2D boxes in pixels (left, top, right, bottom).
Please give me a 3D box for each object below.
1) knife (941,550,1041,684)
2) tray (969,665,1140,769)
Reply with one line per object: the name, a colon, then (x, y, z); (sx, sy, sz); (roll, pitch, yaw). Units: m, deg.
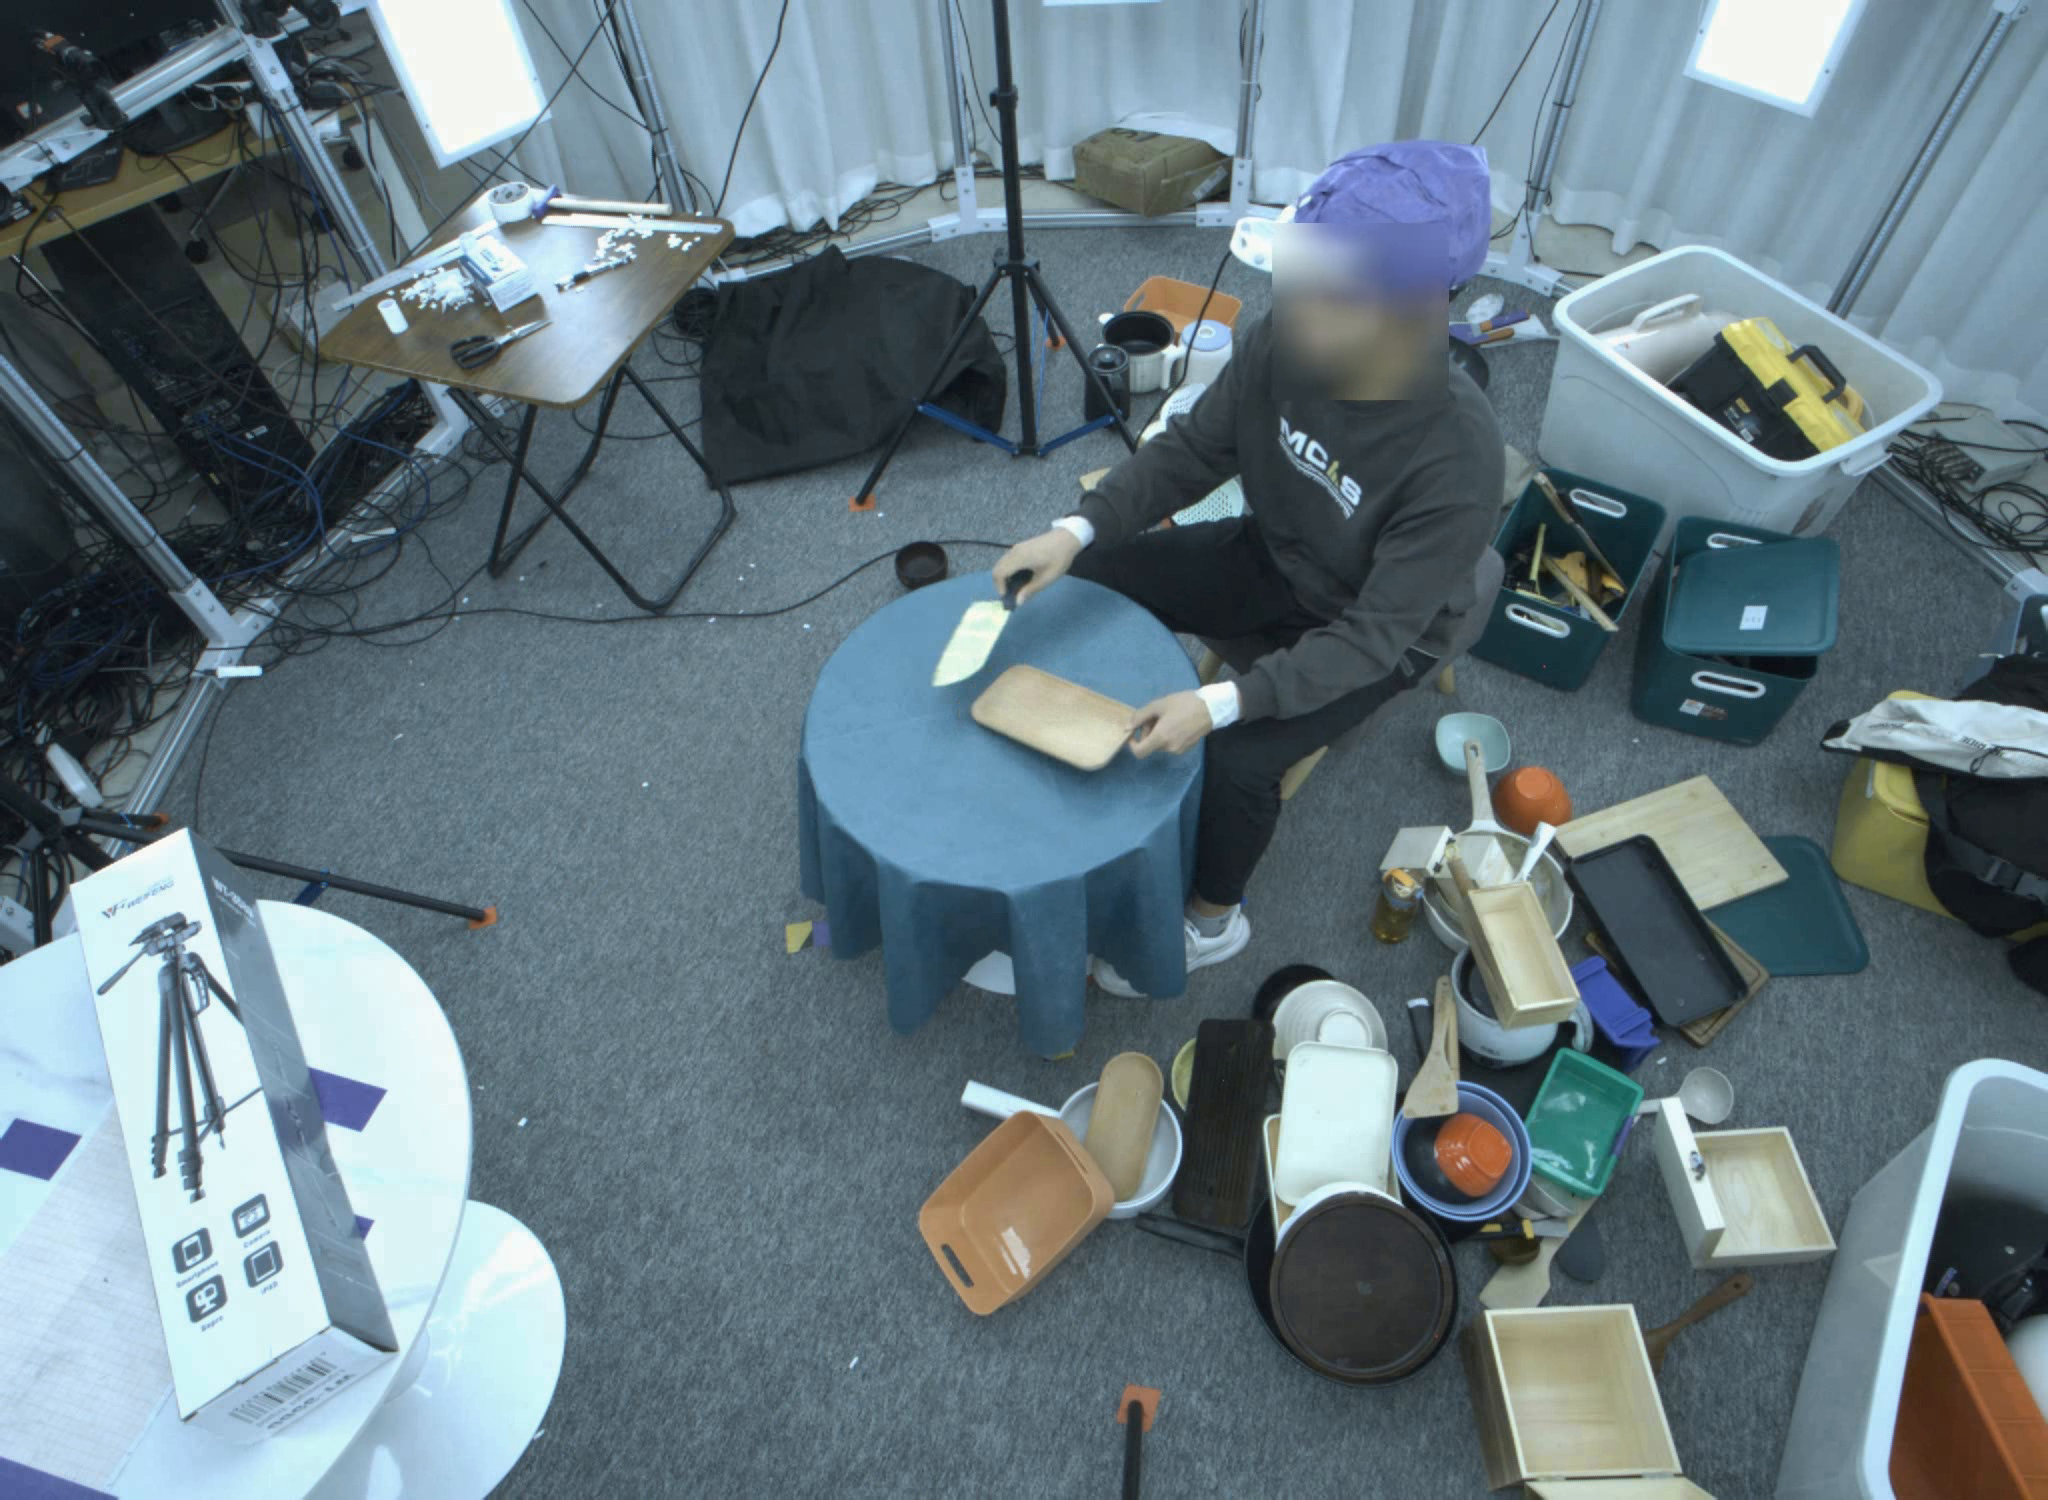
knife: (-0.048, -0.202, 1.846); (0.079, 0.028, 0.289); (11, 54, 26)
tray: (0.042, -0.050, 1.789); (0.245, 0.023, 0.131); (23, 55, 33)
